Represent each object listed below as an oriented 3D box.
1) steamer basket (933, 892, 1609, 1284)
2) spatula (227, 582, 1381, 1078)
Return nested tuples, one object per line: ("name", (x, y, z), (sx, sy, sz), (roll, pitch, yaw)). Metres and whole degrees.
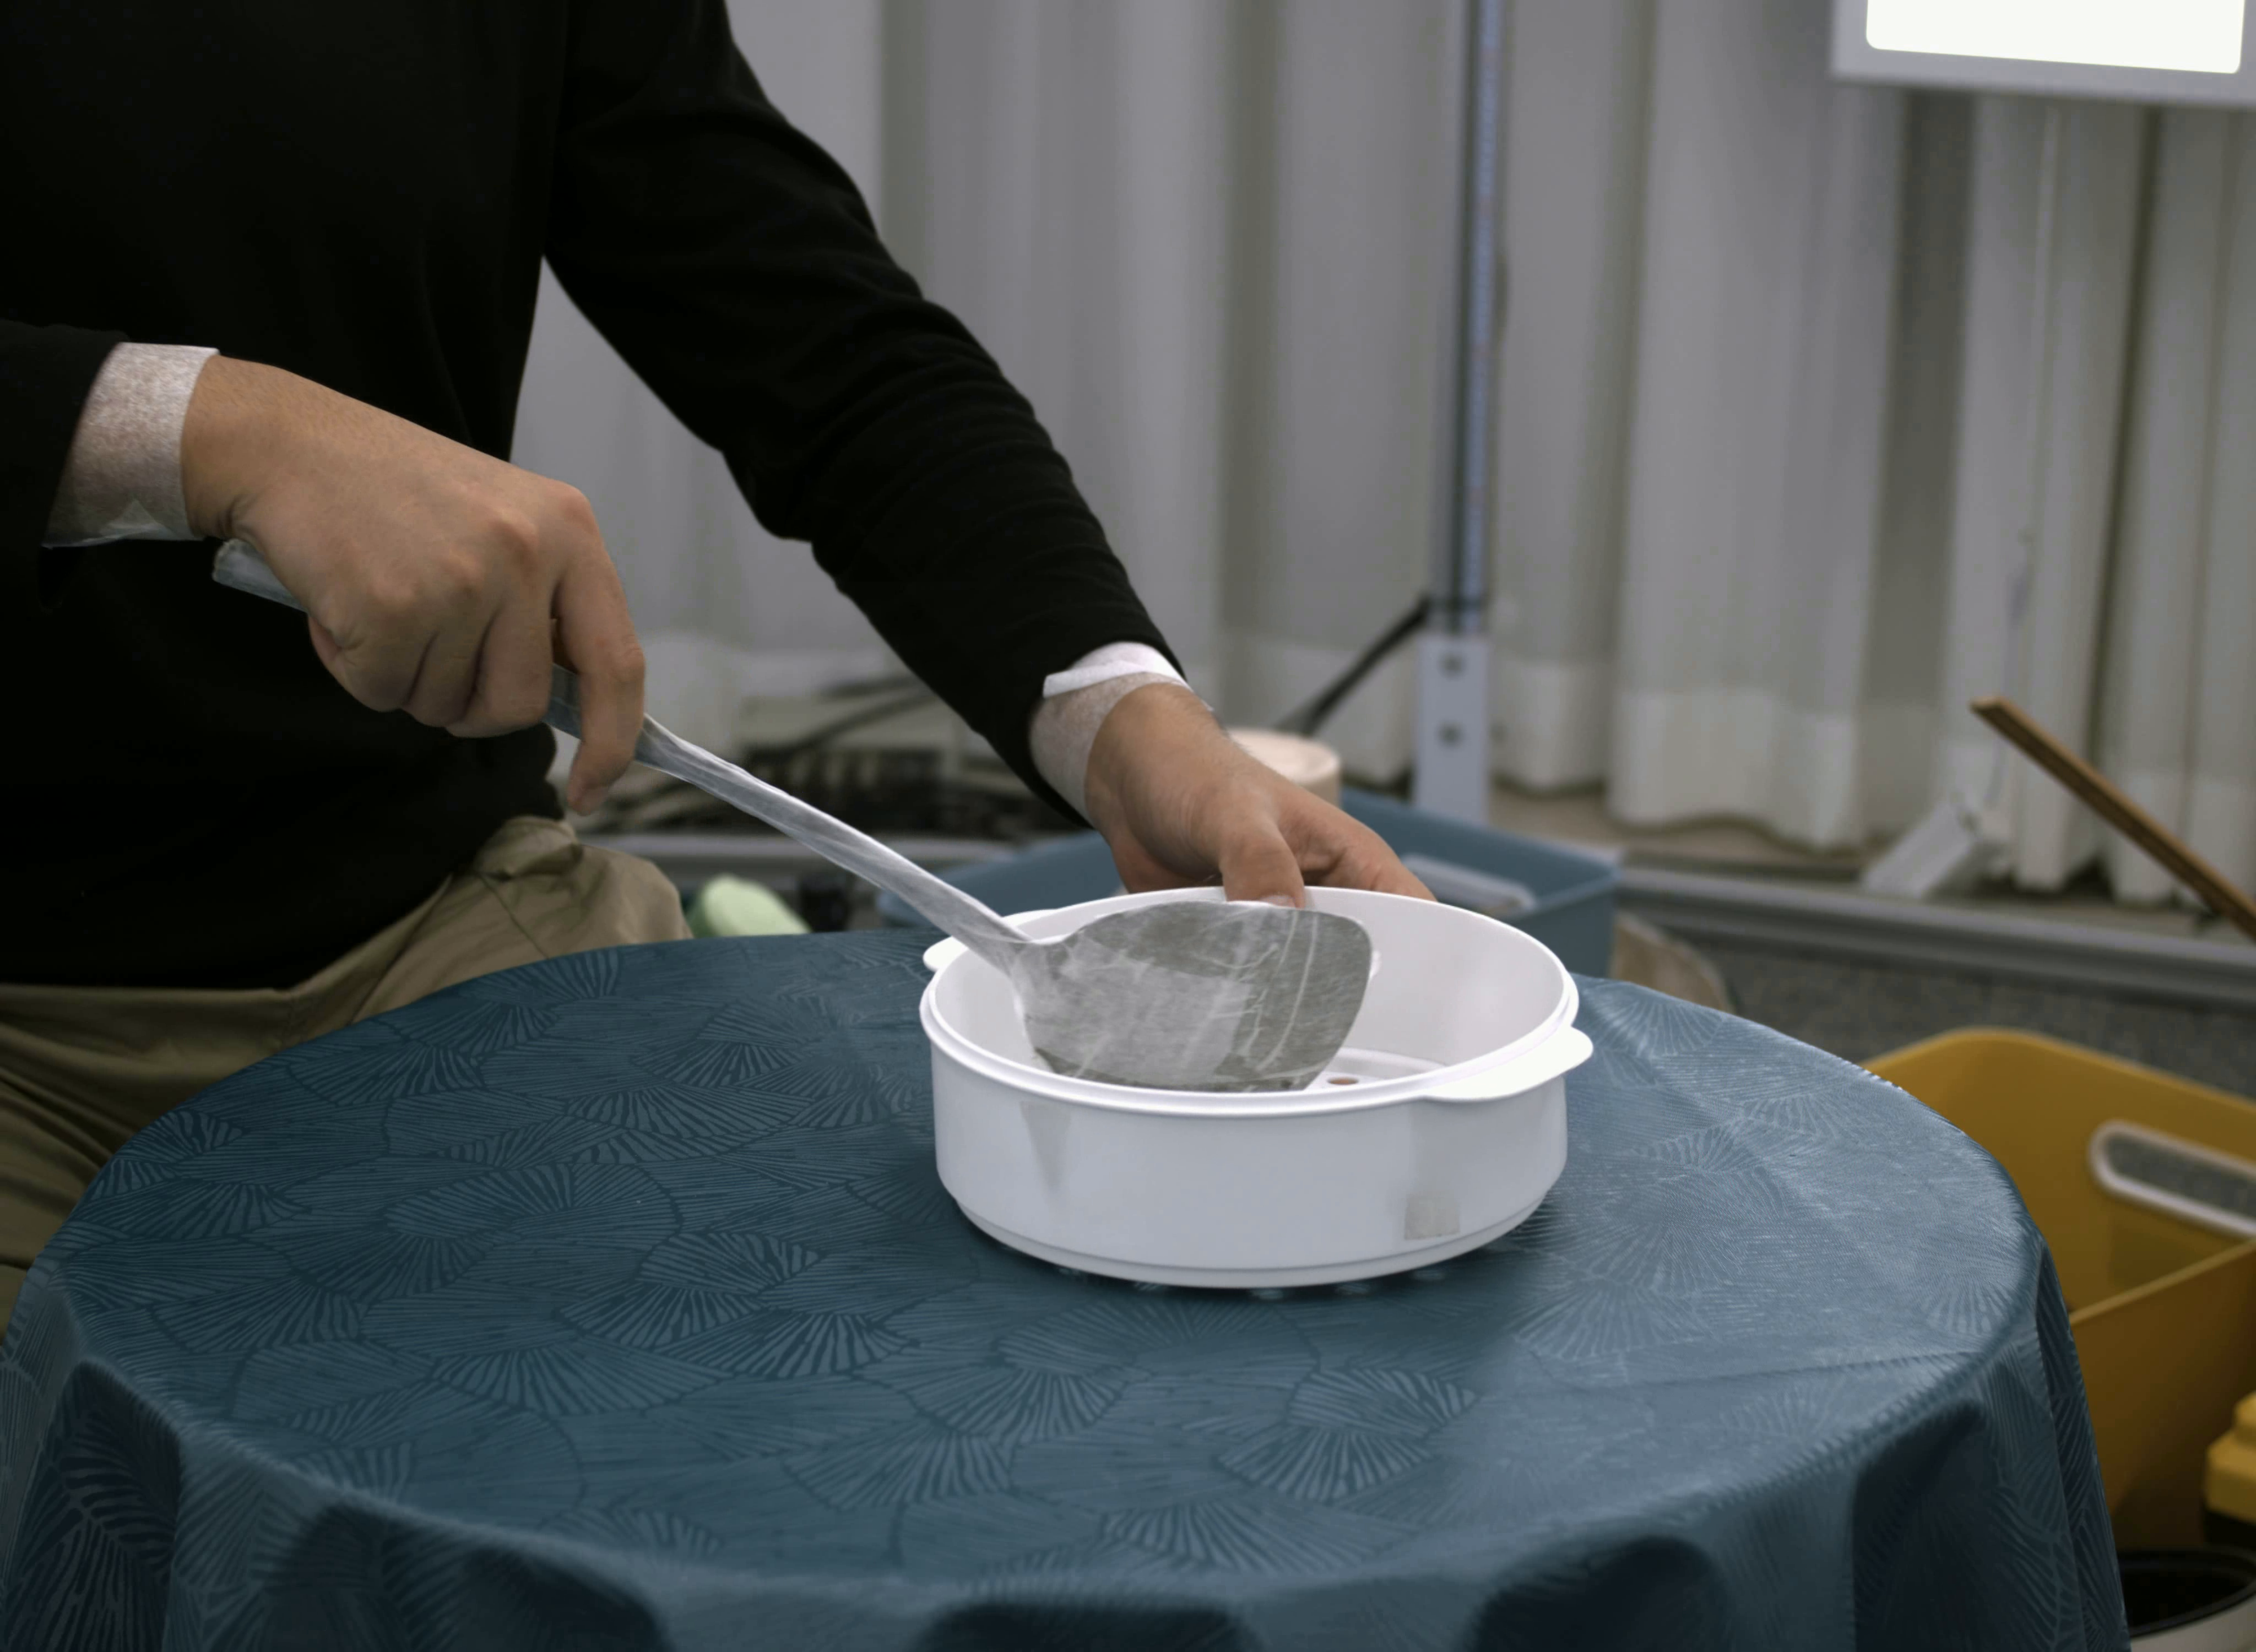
("steamer basket", (0.041, 0.079, 1.602), (0.227, 0.070, 0.203), (12, 21, 38))
("spatula", (-0.098, -0.002, 1.591), (0.365, 0.099, 0.044), (27, 40, -4))
